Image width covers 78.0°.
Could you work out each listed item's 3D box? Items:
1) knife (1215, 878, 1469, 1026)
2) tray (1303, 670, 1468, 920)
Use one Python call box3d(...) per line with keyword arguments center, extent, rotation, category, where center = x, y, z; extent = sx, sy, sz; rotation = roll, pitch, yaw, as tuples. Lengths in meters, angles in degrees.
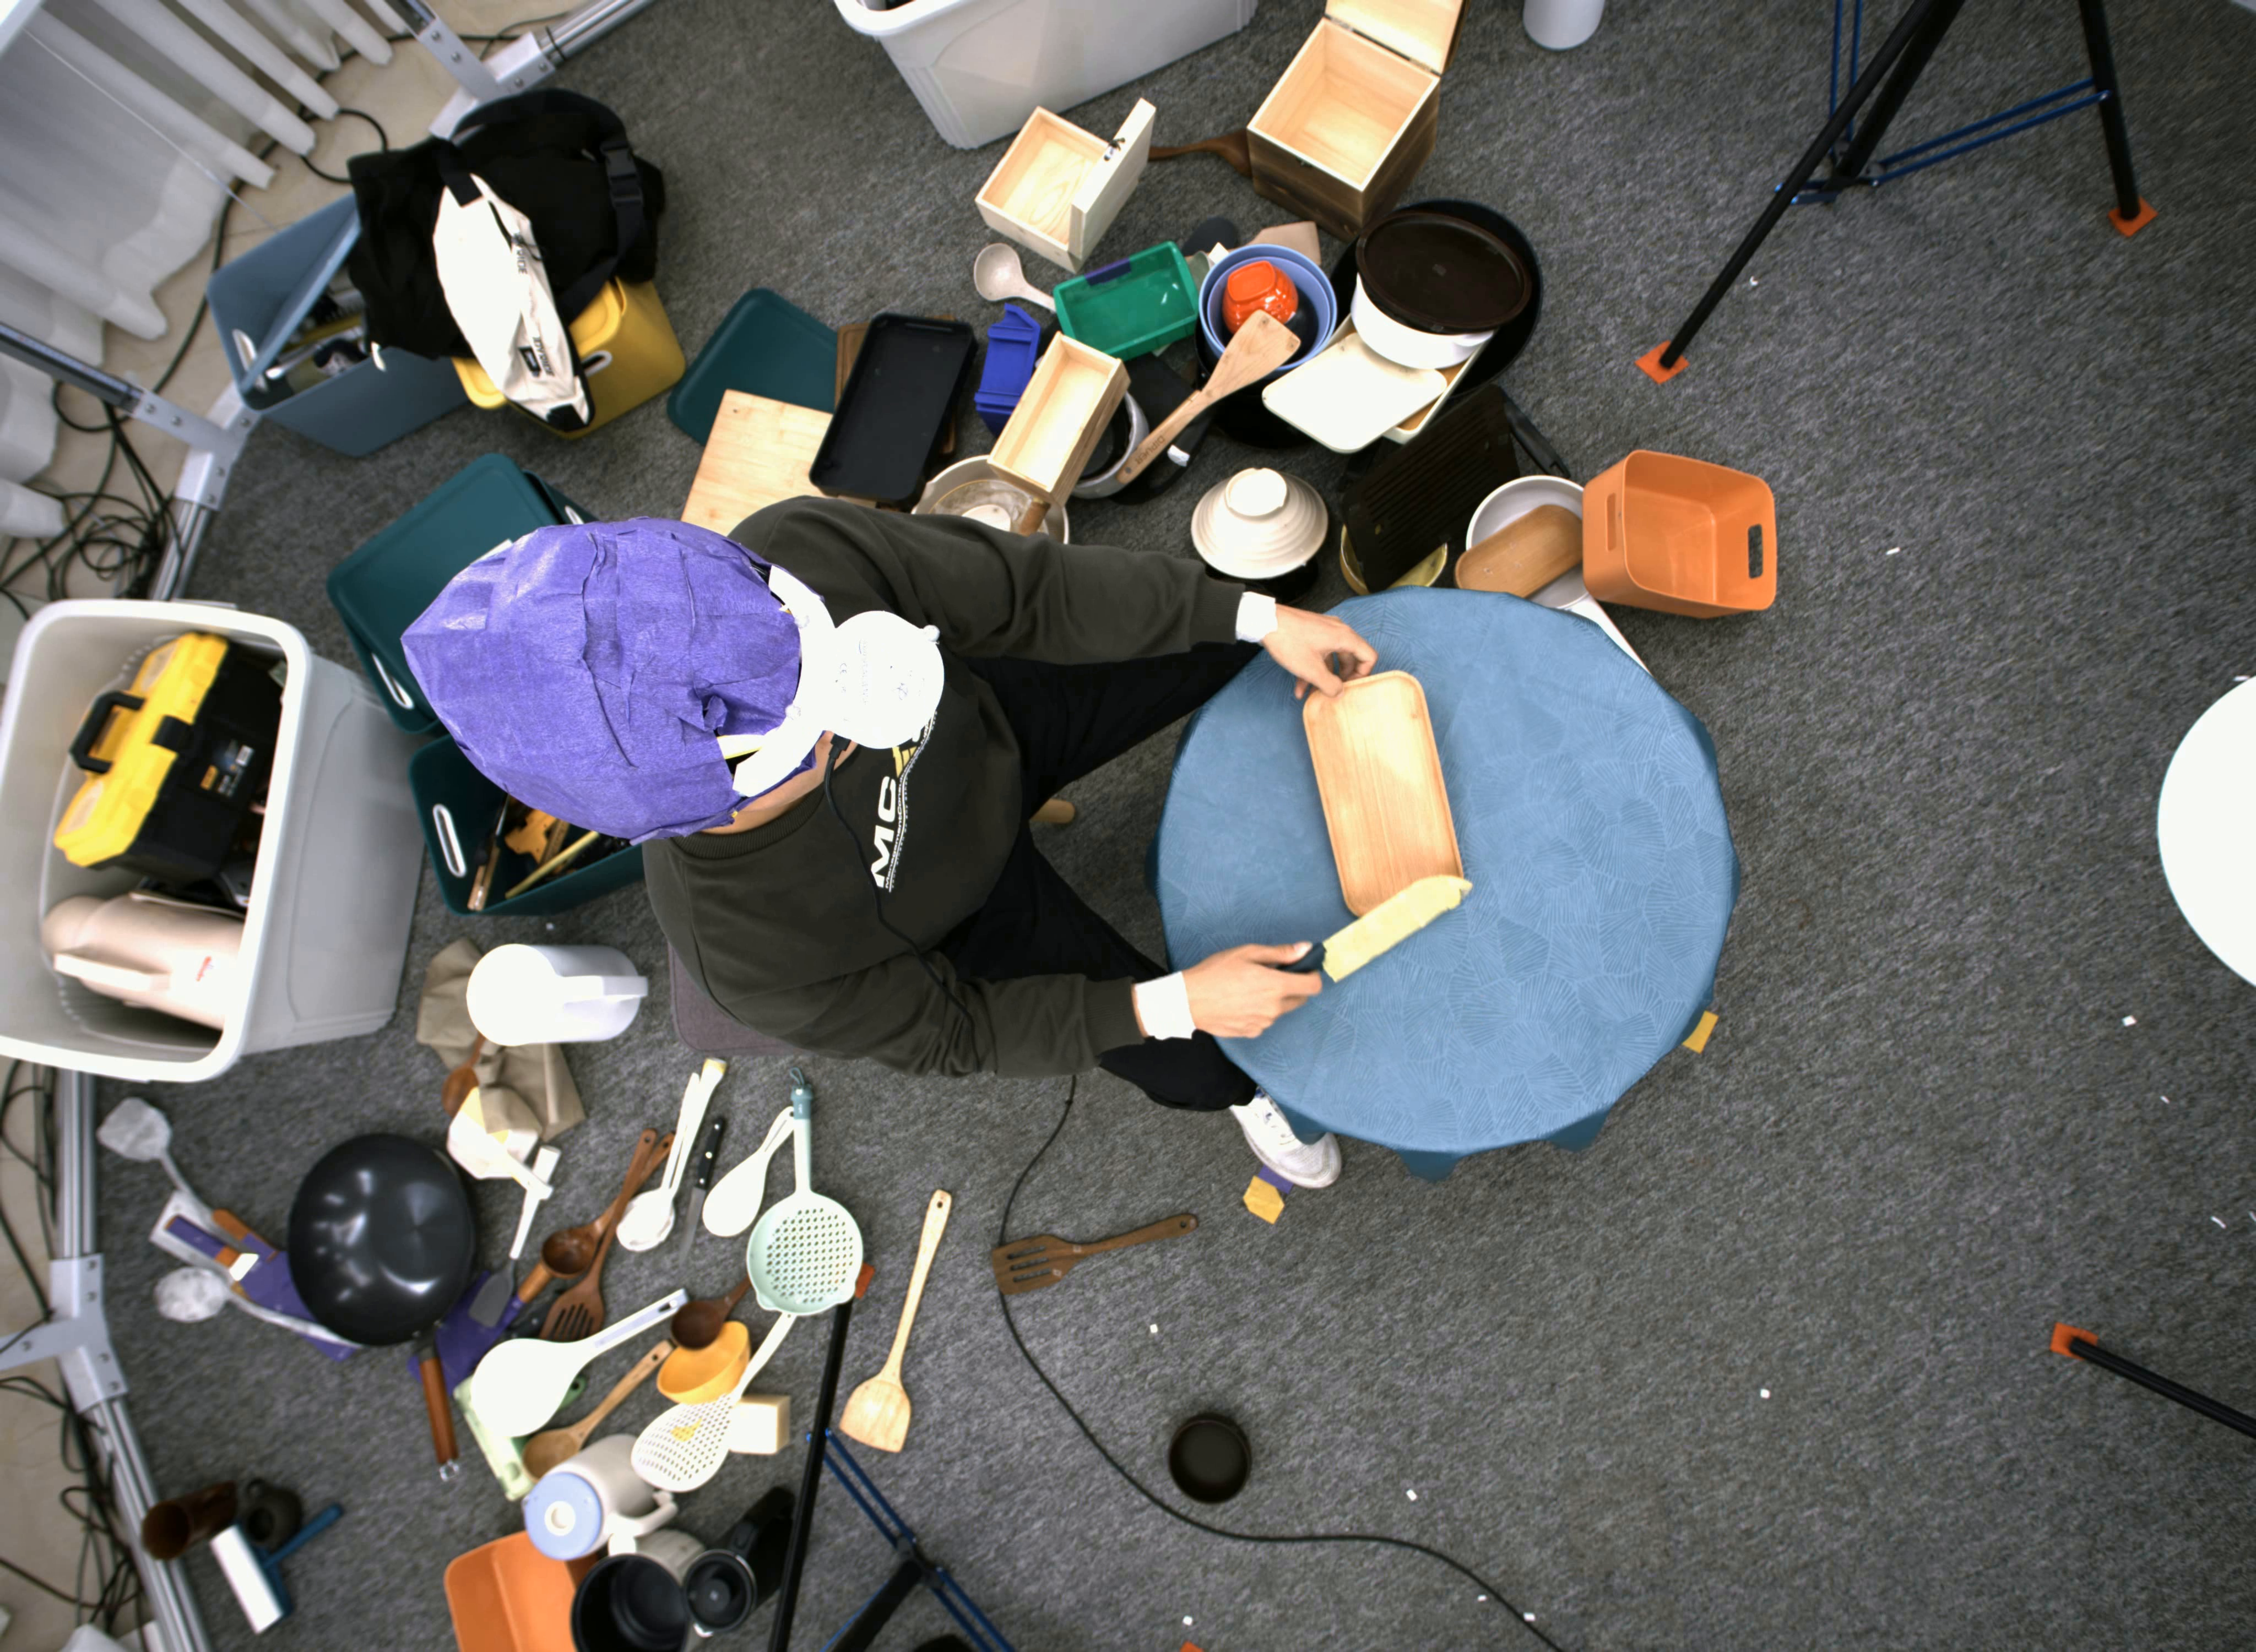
box3d(center=(0.219, 0.130, 1.407), extent=(0.291, 0.082, 0.026), rotation=(-30, 46, 9), category="knife")
box3d(center=(0.268, -0.032, 1.433), extent=(0.131, 0.022, 0.252), rotation=(-12, 98, 12), category="tray")
